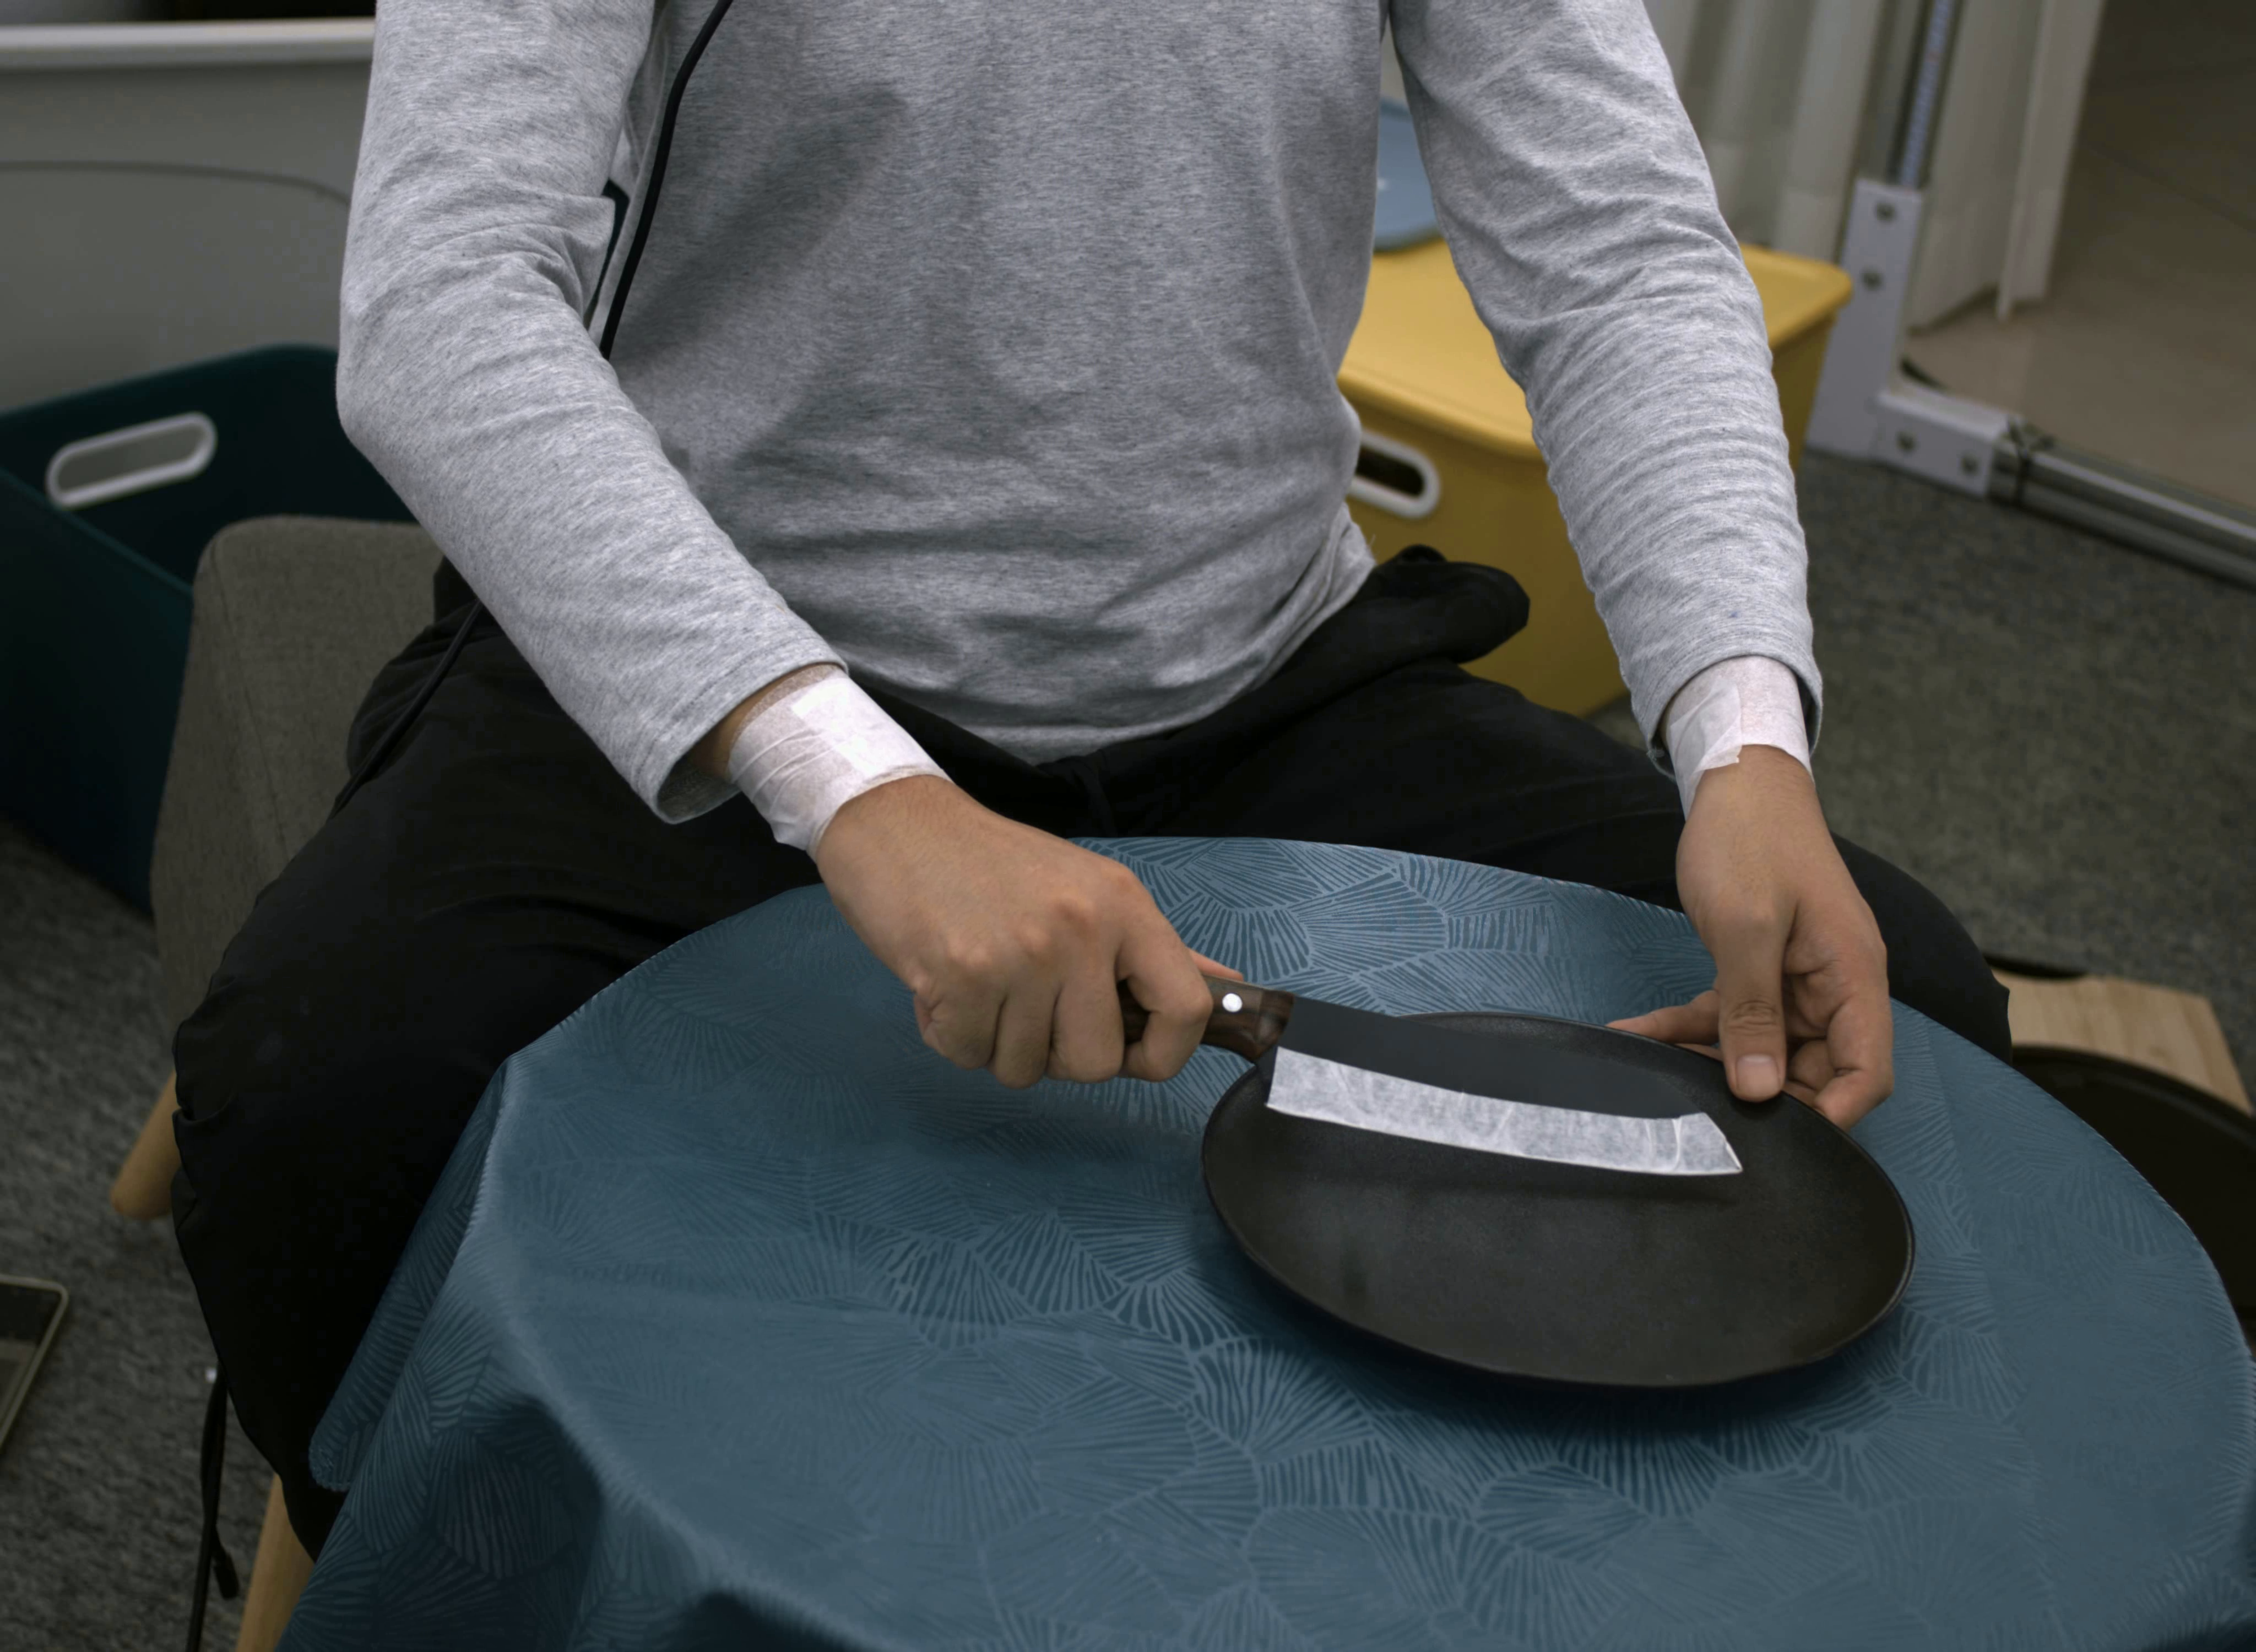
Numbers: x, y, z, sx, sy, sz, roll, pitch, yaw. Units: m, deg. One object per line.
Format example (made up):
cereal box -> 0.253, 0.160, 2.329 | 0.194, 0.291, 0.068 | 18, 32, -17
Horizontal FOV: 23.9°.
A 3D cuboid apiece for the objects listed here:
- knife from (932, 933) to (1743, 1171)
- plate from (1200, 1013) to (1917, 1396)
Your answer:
knife -> 0.072, 0.079, 1.822 | 0.288, 0.020, 0.050 | 14, 65, -2
plate -> 0.144, 0.131, 1.798 | 0.243, 0.023, 0.246 | 5, 27, -3
